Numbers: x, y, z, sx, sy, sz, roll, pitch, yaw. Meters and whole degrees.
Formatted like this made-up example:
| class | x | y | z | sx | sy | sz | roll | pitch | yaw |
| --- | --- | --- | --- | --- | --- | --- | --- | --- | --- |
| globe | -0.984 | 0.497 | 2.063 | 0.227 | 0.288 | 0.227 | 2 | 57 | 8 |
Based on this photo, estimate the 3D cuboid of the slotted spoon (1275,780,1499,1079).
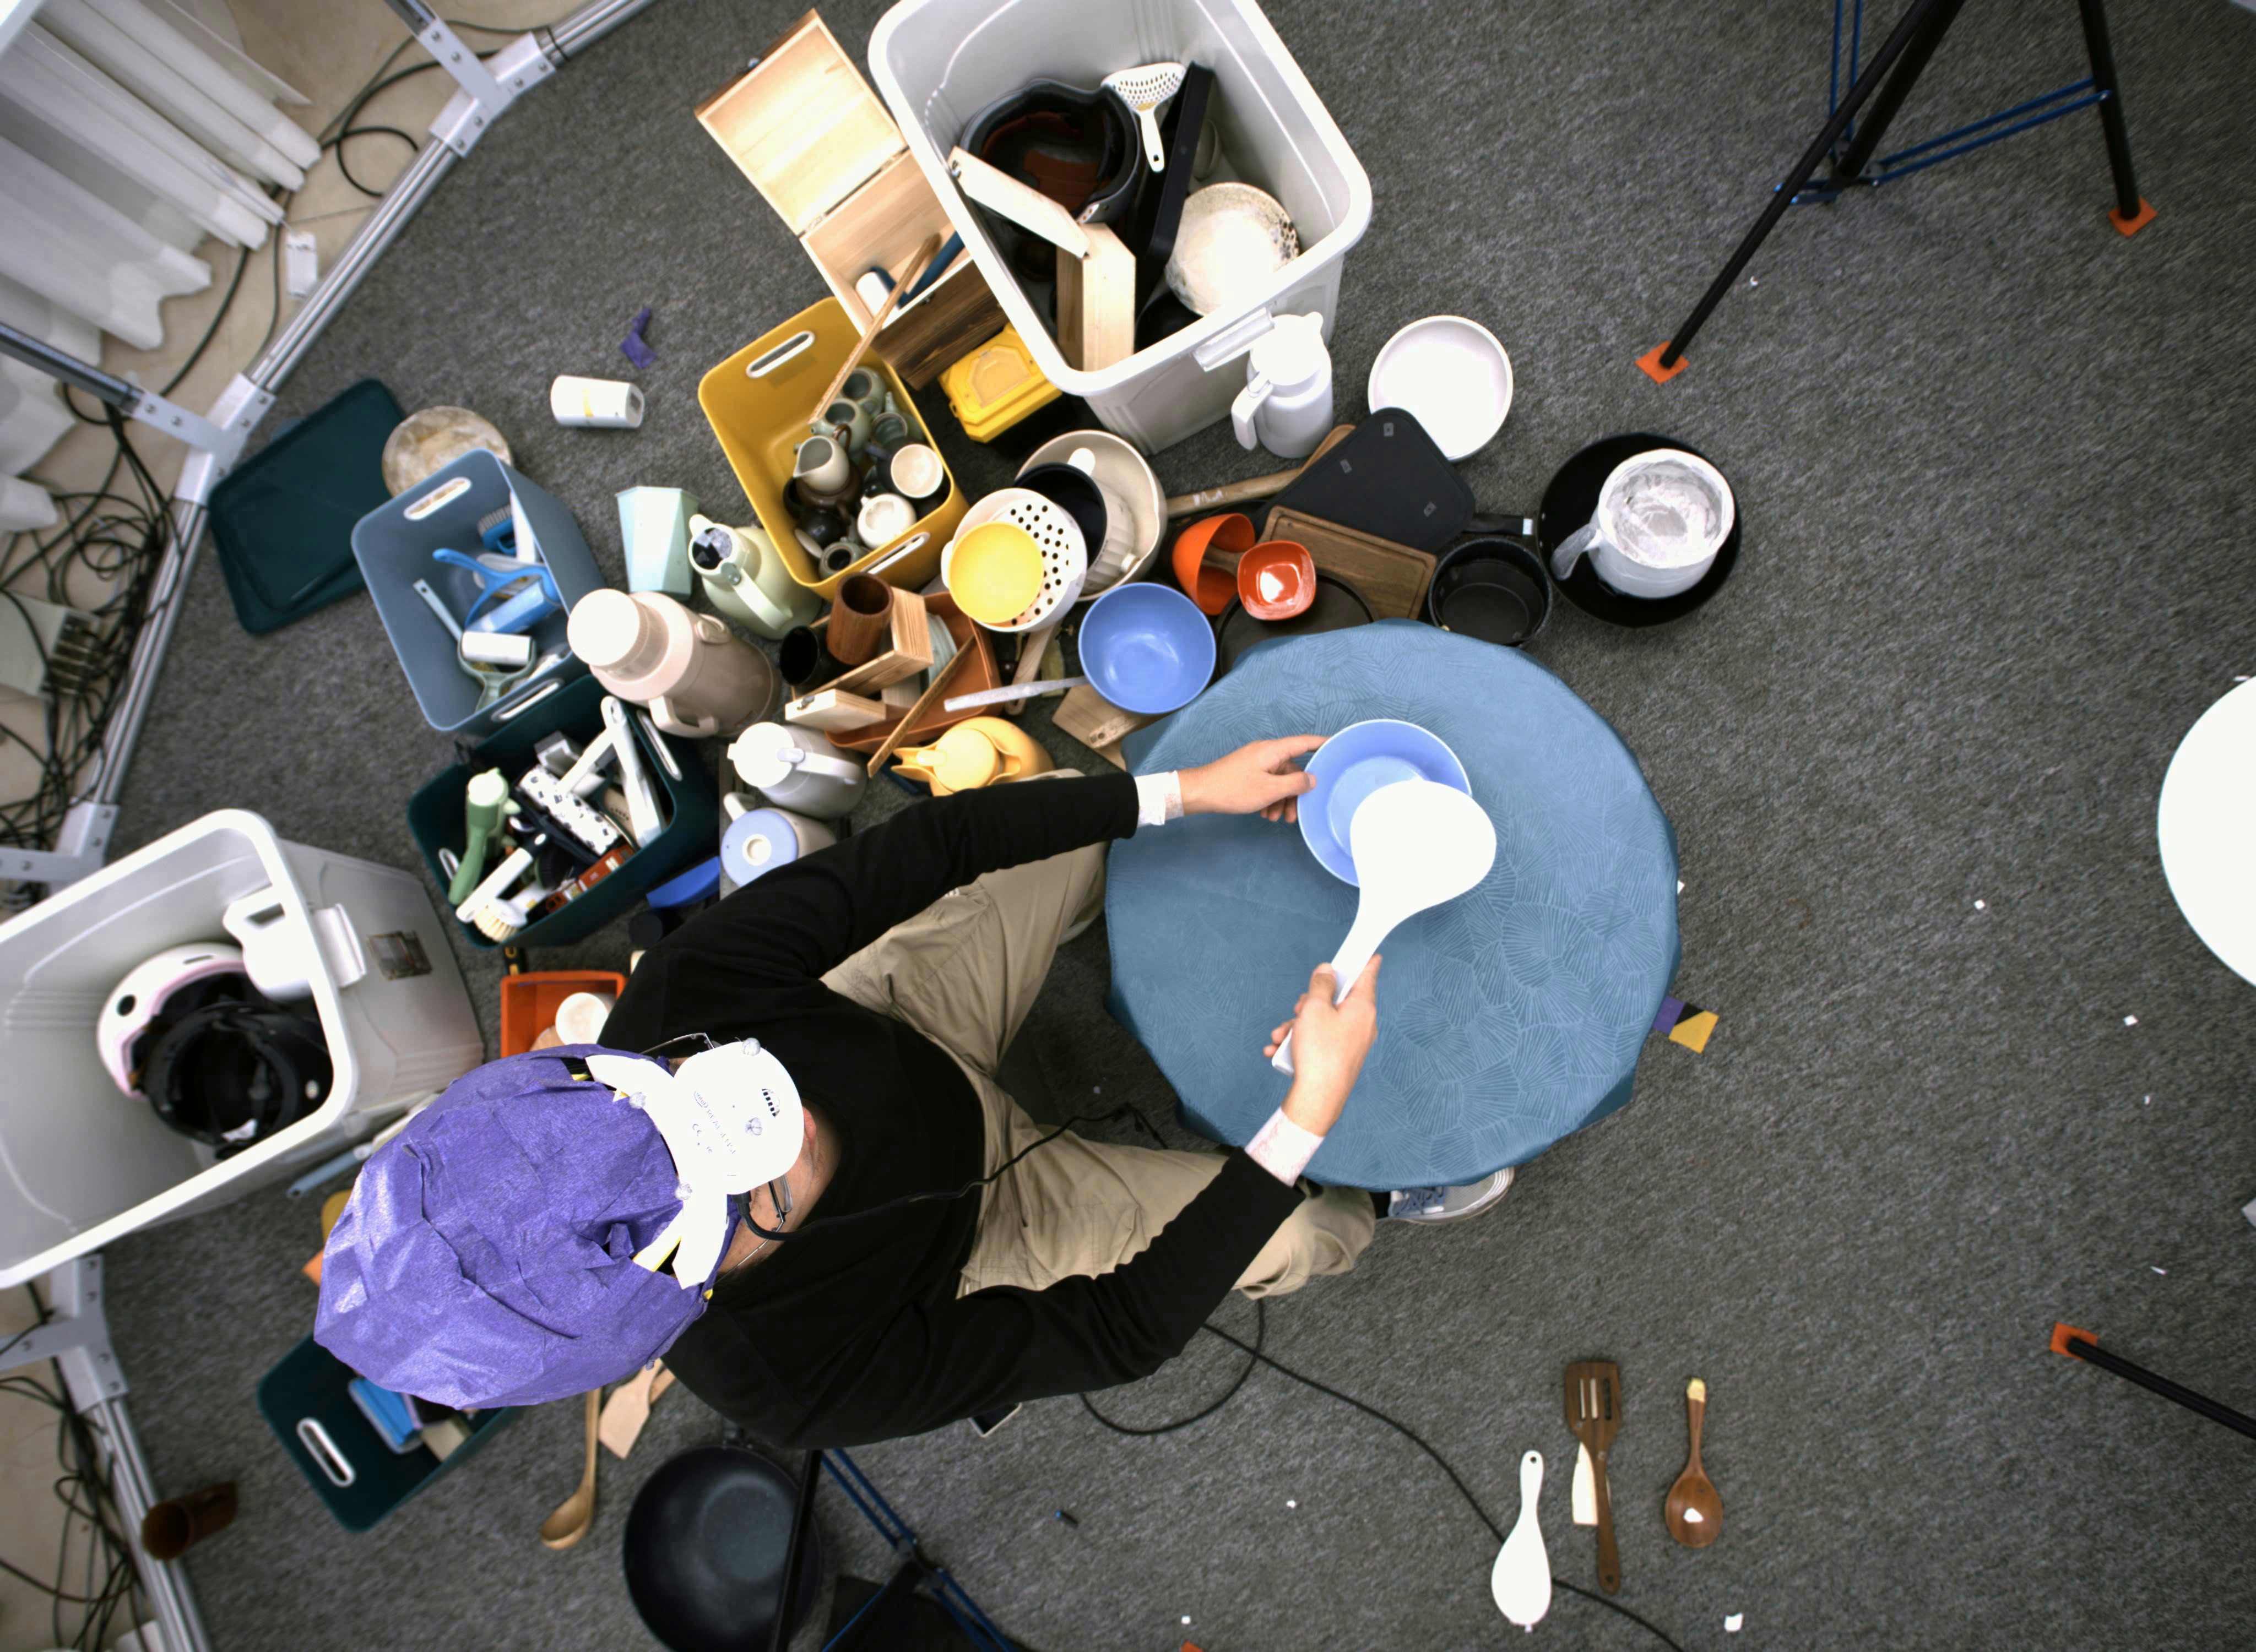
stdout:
| class | x | y | z | sx | sy | sz | roll | pitch | yaw |
| --- | --- | --- | --- | --- | --- | --- | --- | --- | --- |
| slotted spoon | 0.233 | 0.092 | 1.288 | 0.135 | 0.047 | 0.342 | 28 | 59 | 18 |

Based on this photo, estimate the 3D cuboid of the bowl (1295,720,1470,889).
| class | x | y | z | sx | sy | sz | roll | pitch | yaw |
| --- | --- | --- | --- | --- | --- | --- | --- | --- | --- |
| bowl | 0.263 | -0.020 | 1.431 | 0.177 | 0.070 | 0.175 | -1 | 86 | 11 |
